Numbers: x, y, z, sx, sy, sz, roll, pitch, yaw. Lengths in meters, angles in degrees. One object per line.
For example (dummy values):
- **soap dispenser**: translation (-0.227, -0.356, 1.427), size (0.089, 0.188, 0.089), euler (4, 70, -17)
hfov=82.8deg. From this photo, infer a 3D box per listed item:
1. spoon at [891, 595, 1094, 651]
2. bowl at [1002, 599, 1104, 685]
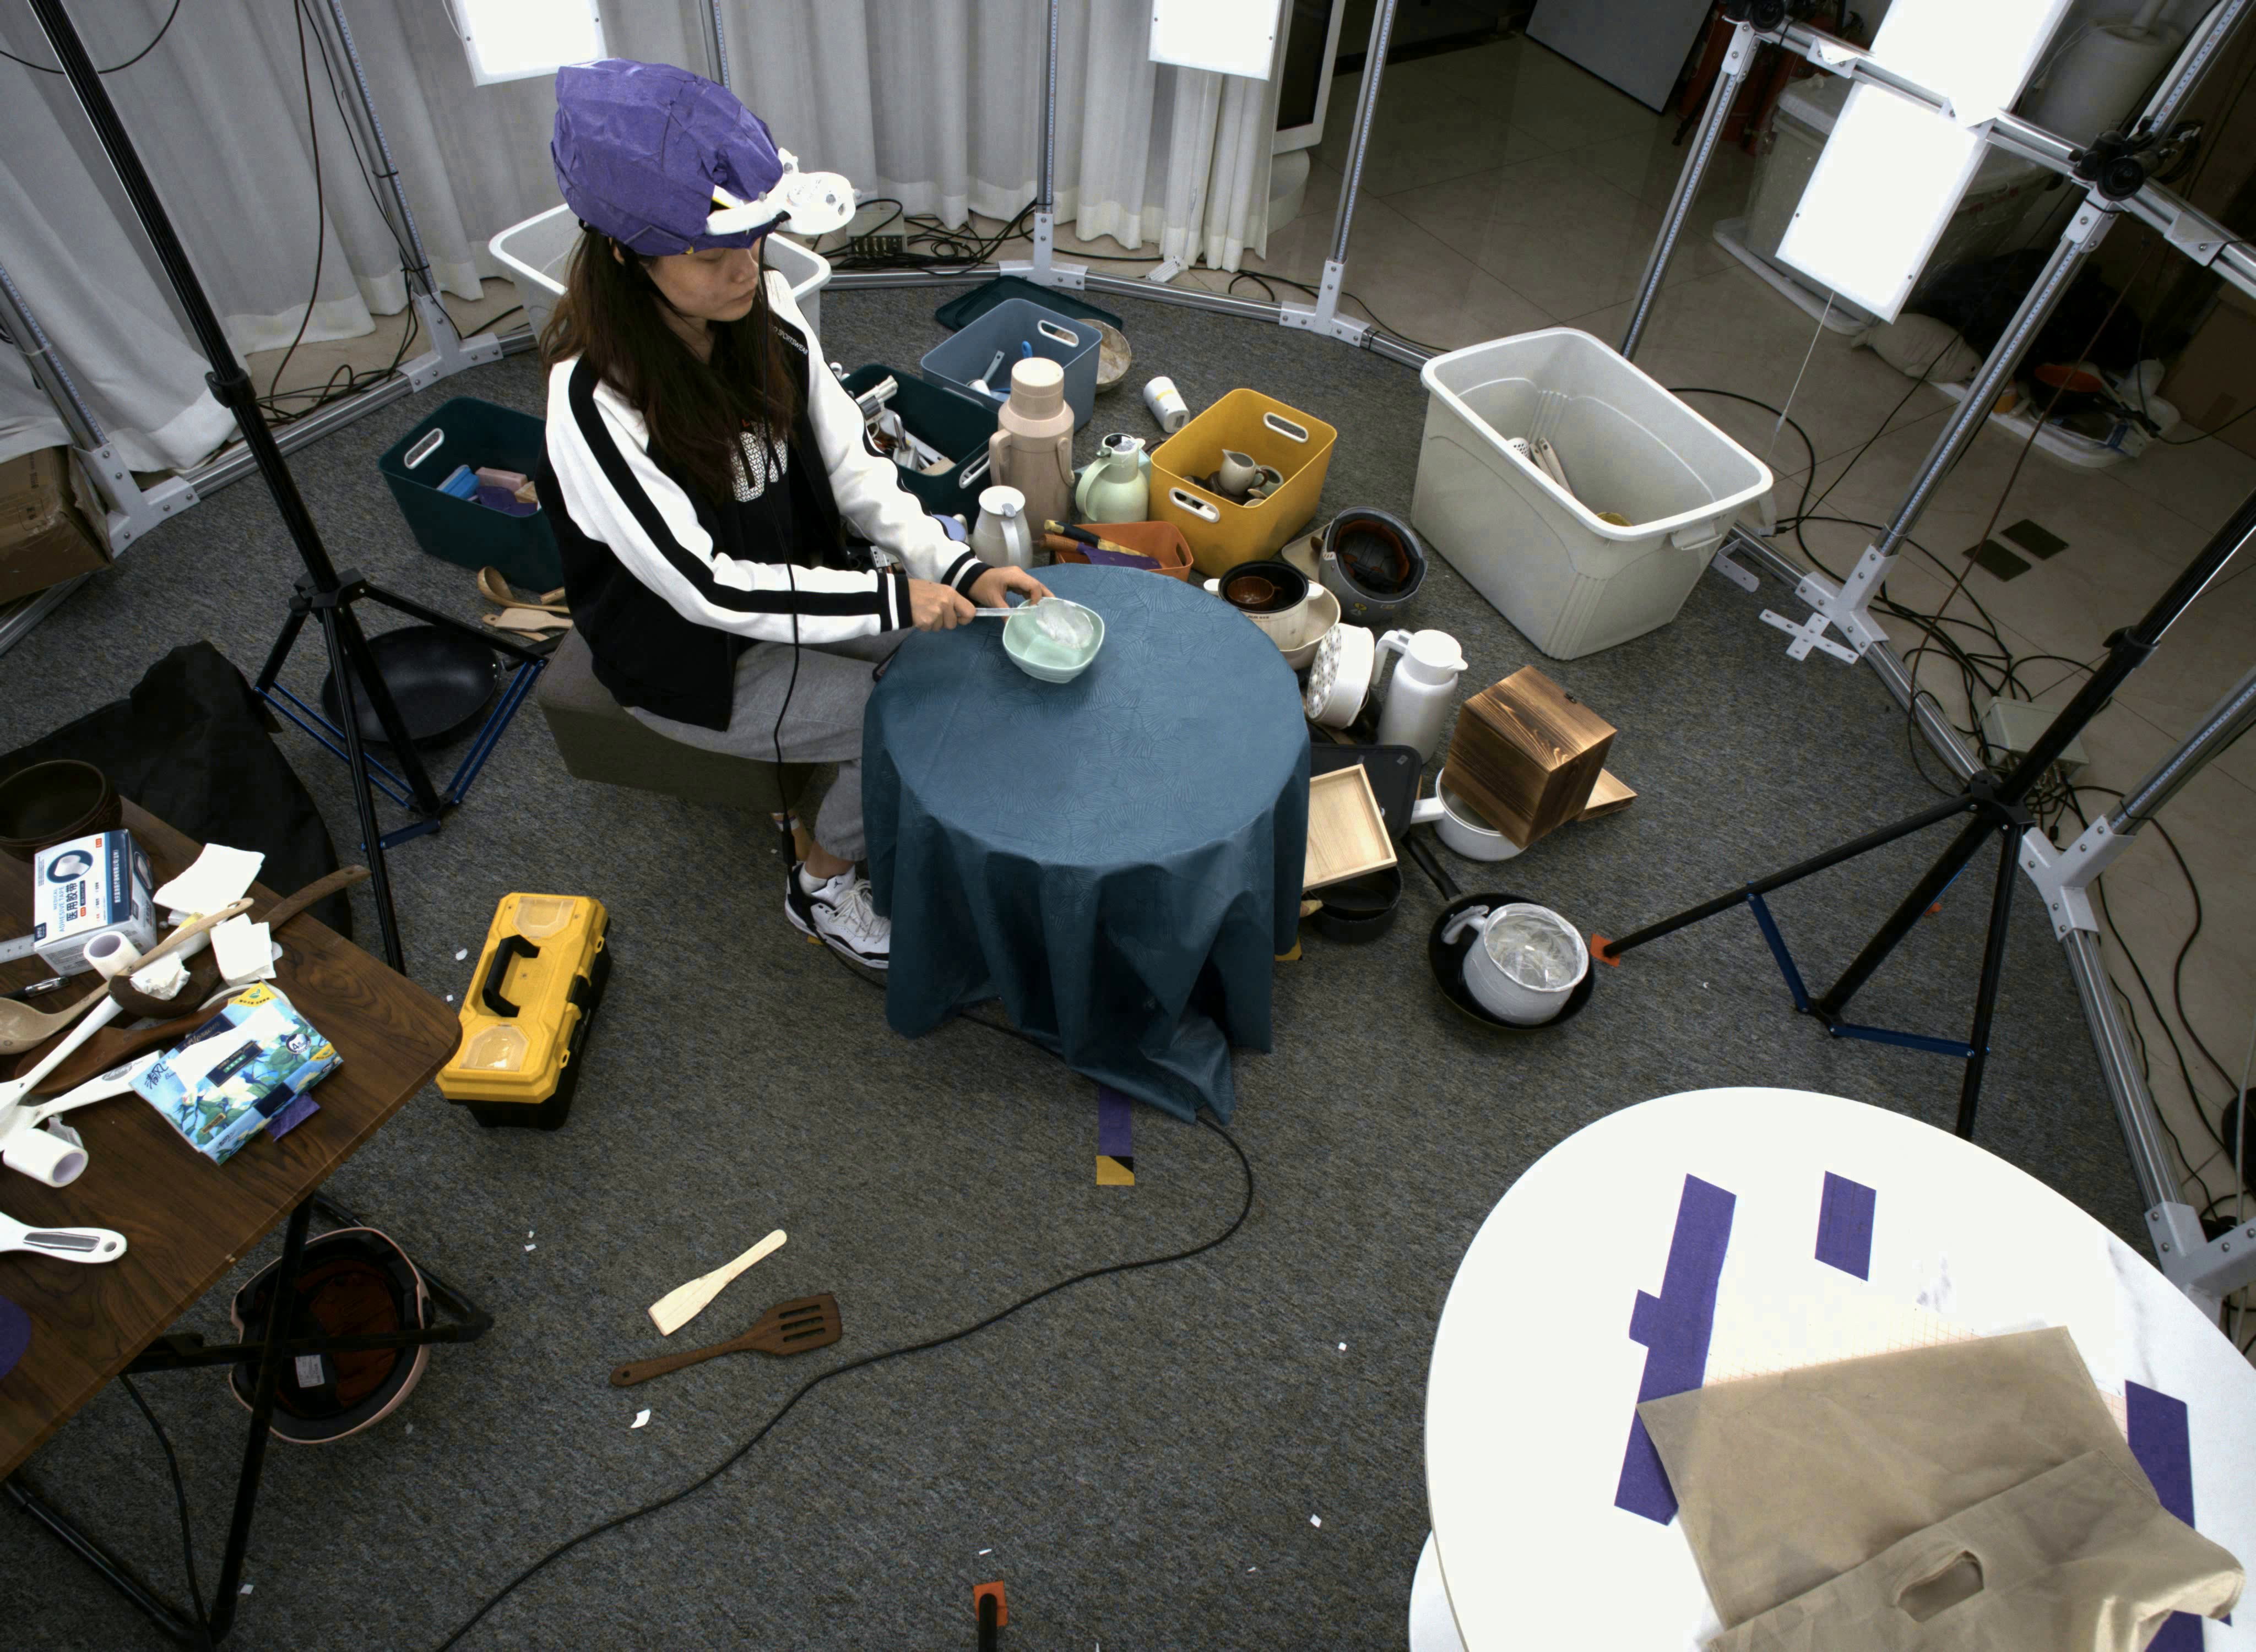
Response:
- **spoon**: translation (-0.187, -0.286, 1.789), size (0.277, 0.098, 0.061), euler (-1, 52, -11)
- **bowl**: translation (-0.109, -0.256, 1.850), size (0.151, 0.057, 0.155), euler (3, 50, -4)
